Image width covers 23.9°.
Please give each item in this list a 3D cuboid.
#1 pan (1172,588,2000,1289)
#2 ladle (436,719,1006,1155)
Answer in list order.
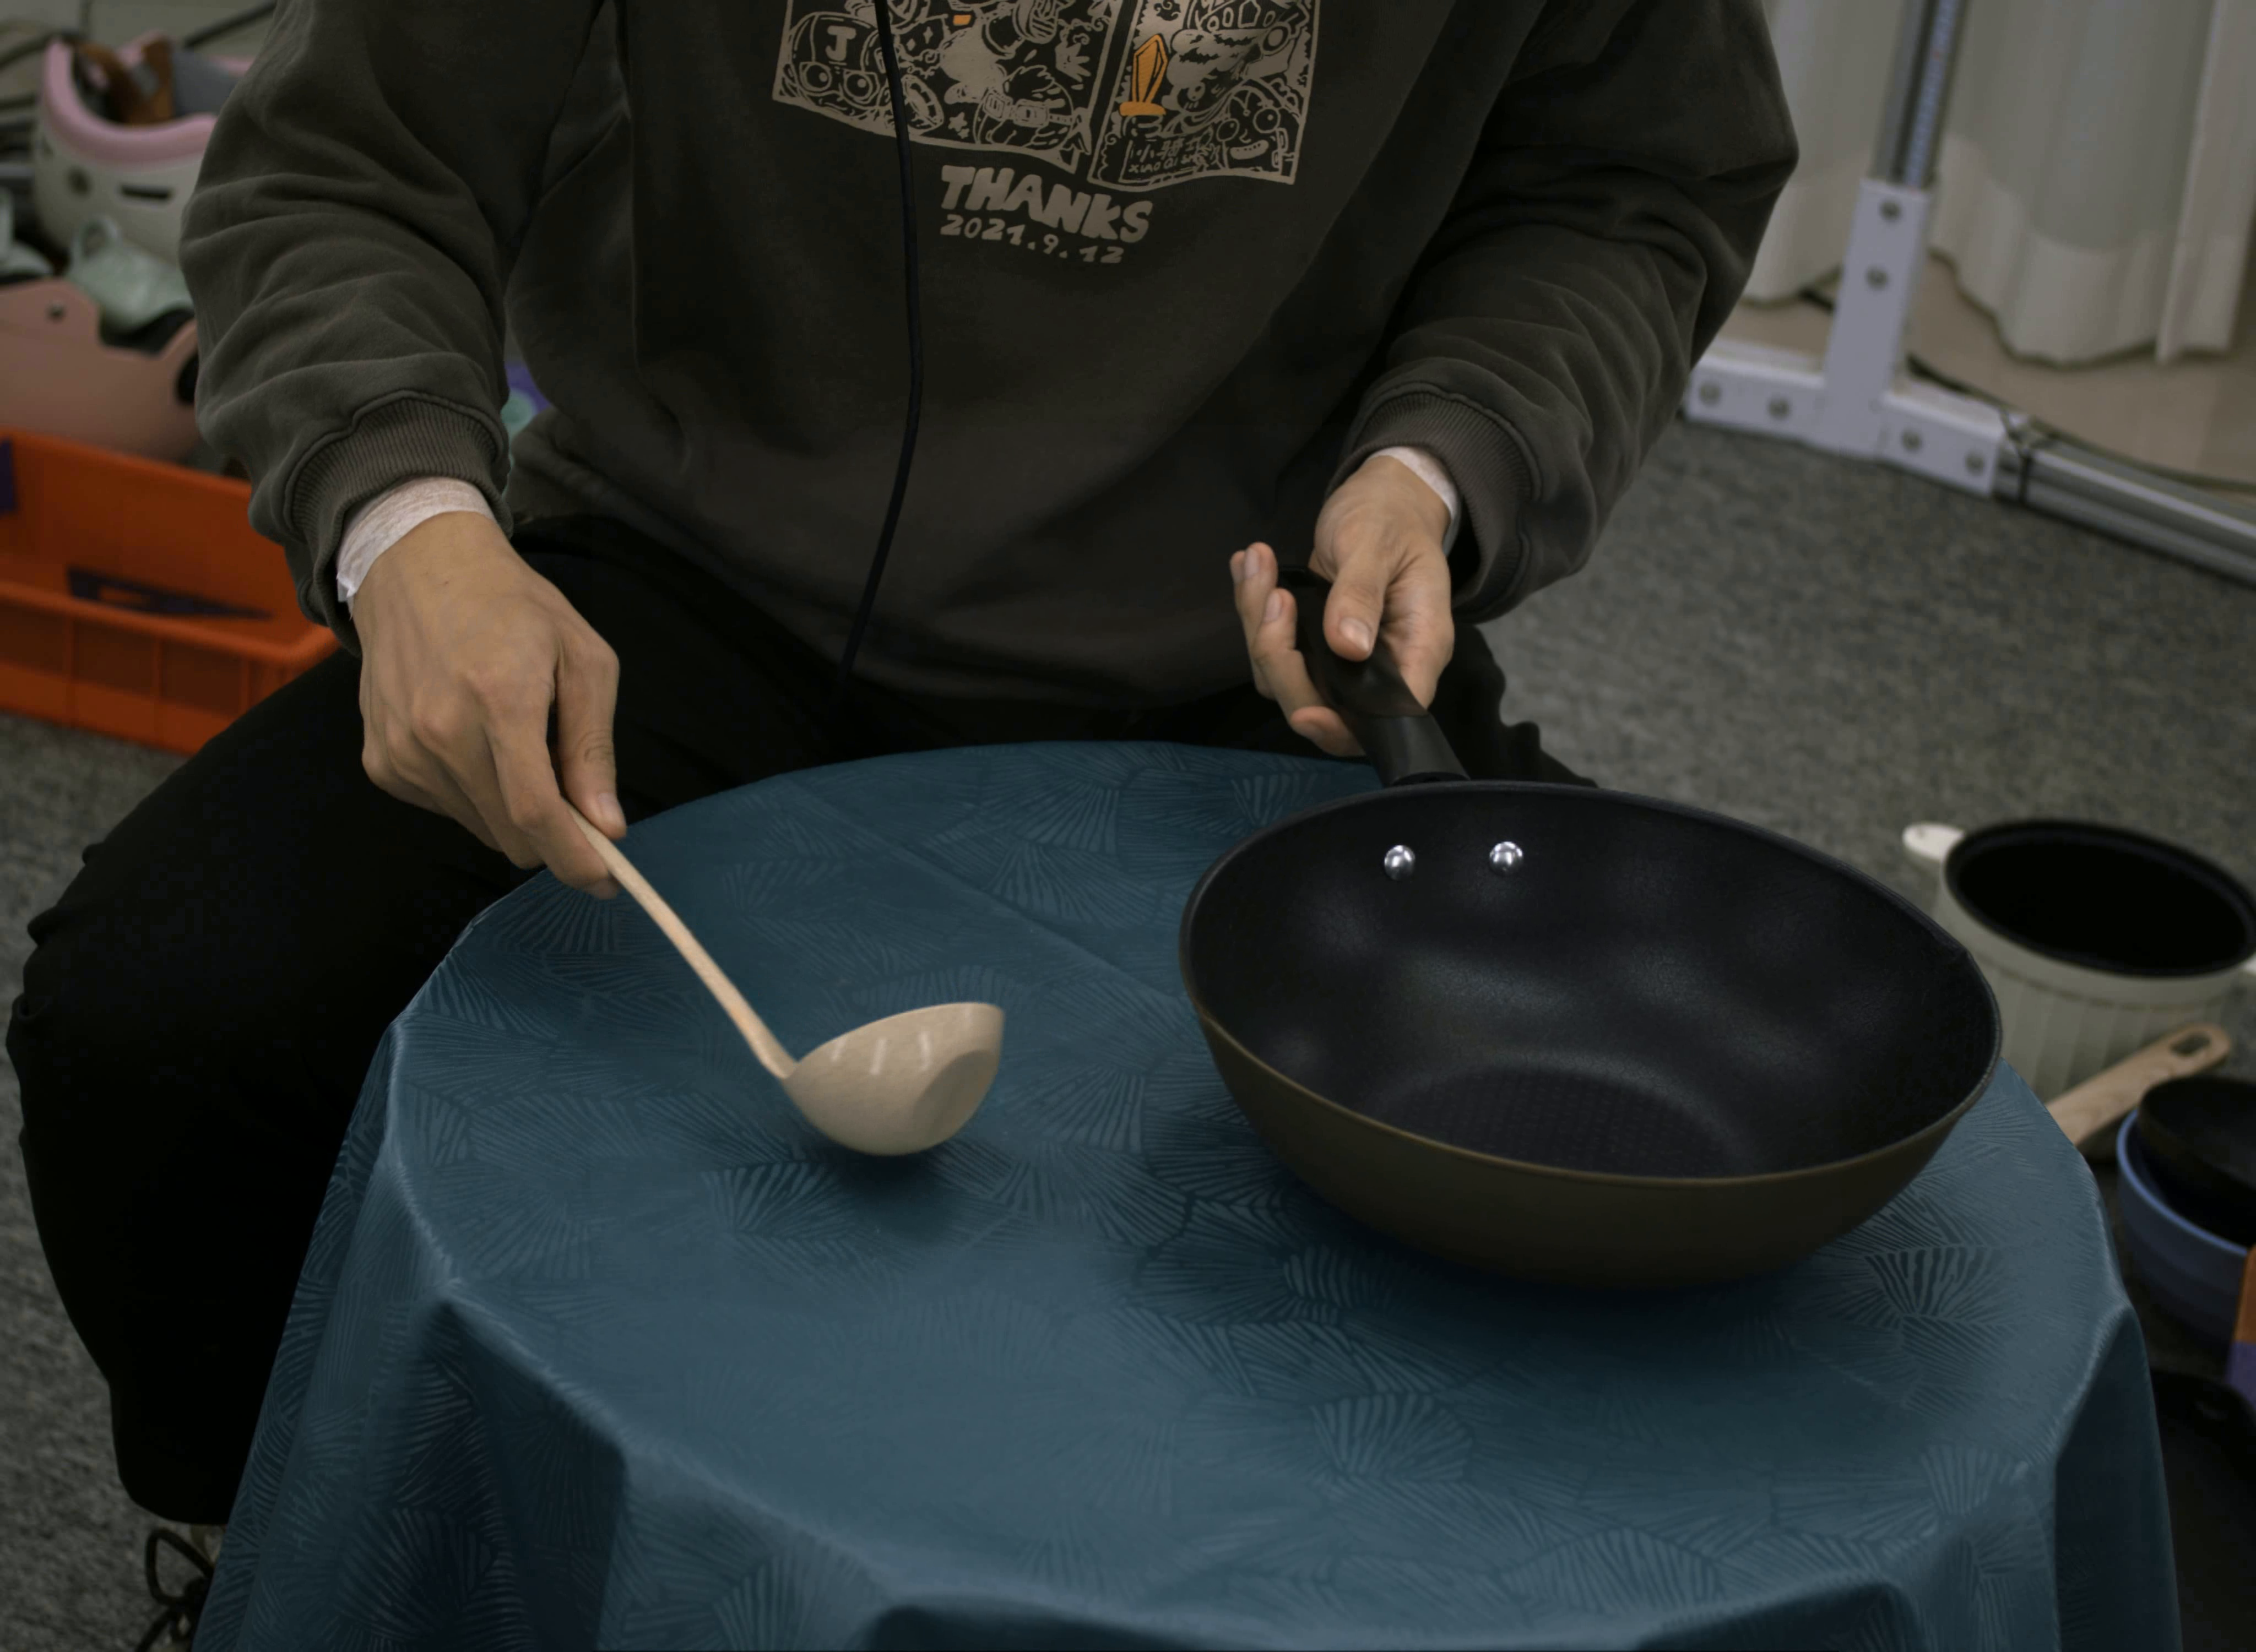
[{"bbox_3d":[0.125,0.042,1.902,0.286,0.086,0.467,-3,27,-18],"label":"pan"},{"bbox_3d":[-0.140,0.015,1.832,0.256,0.073,0.071,44,14,26],"label":"ladle"}]
